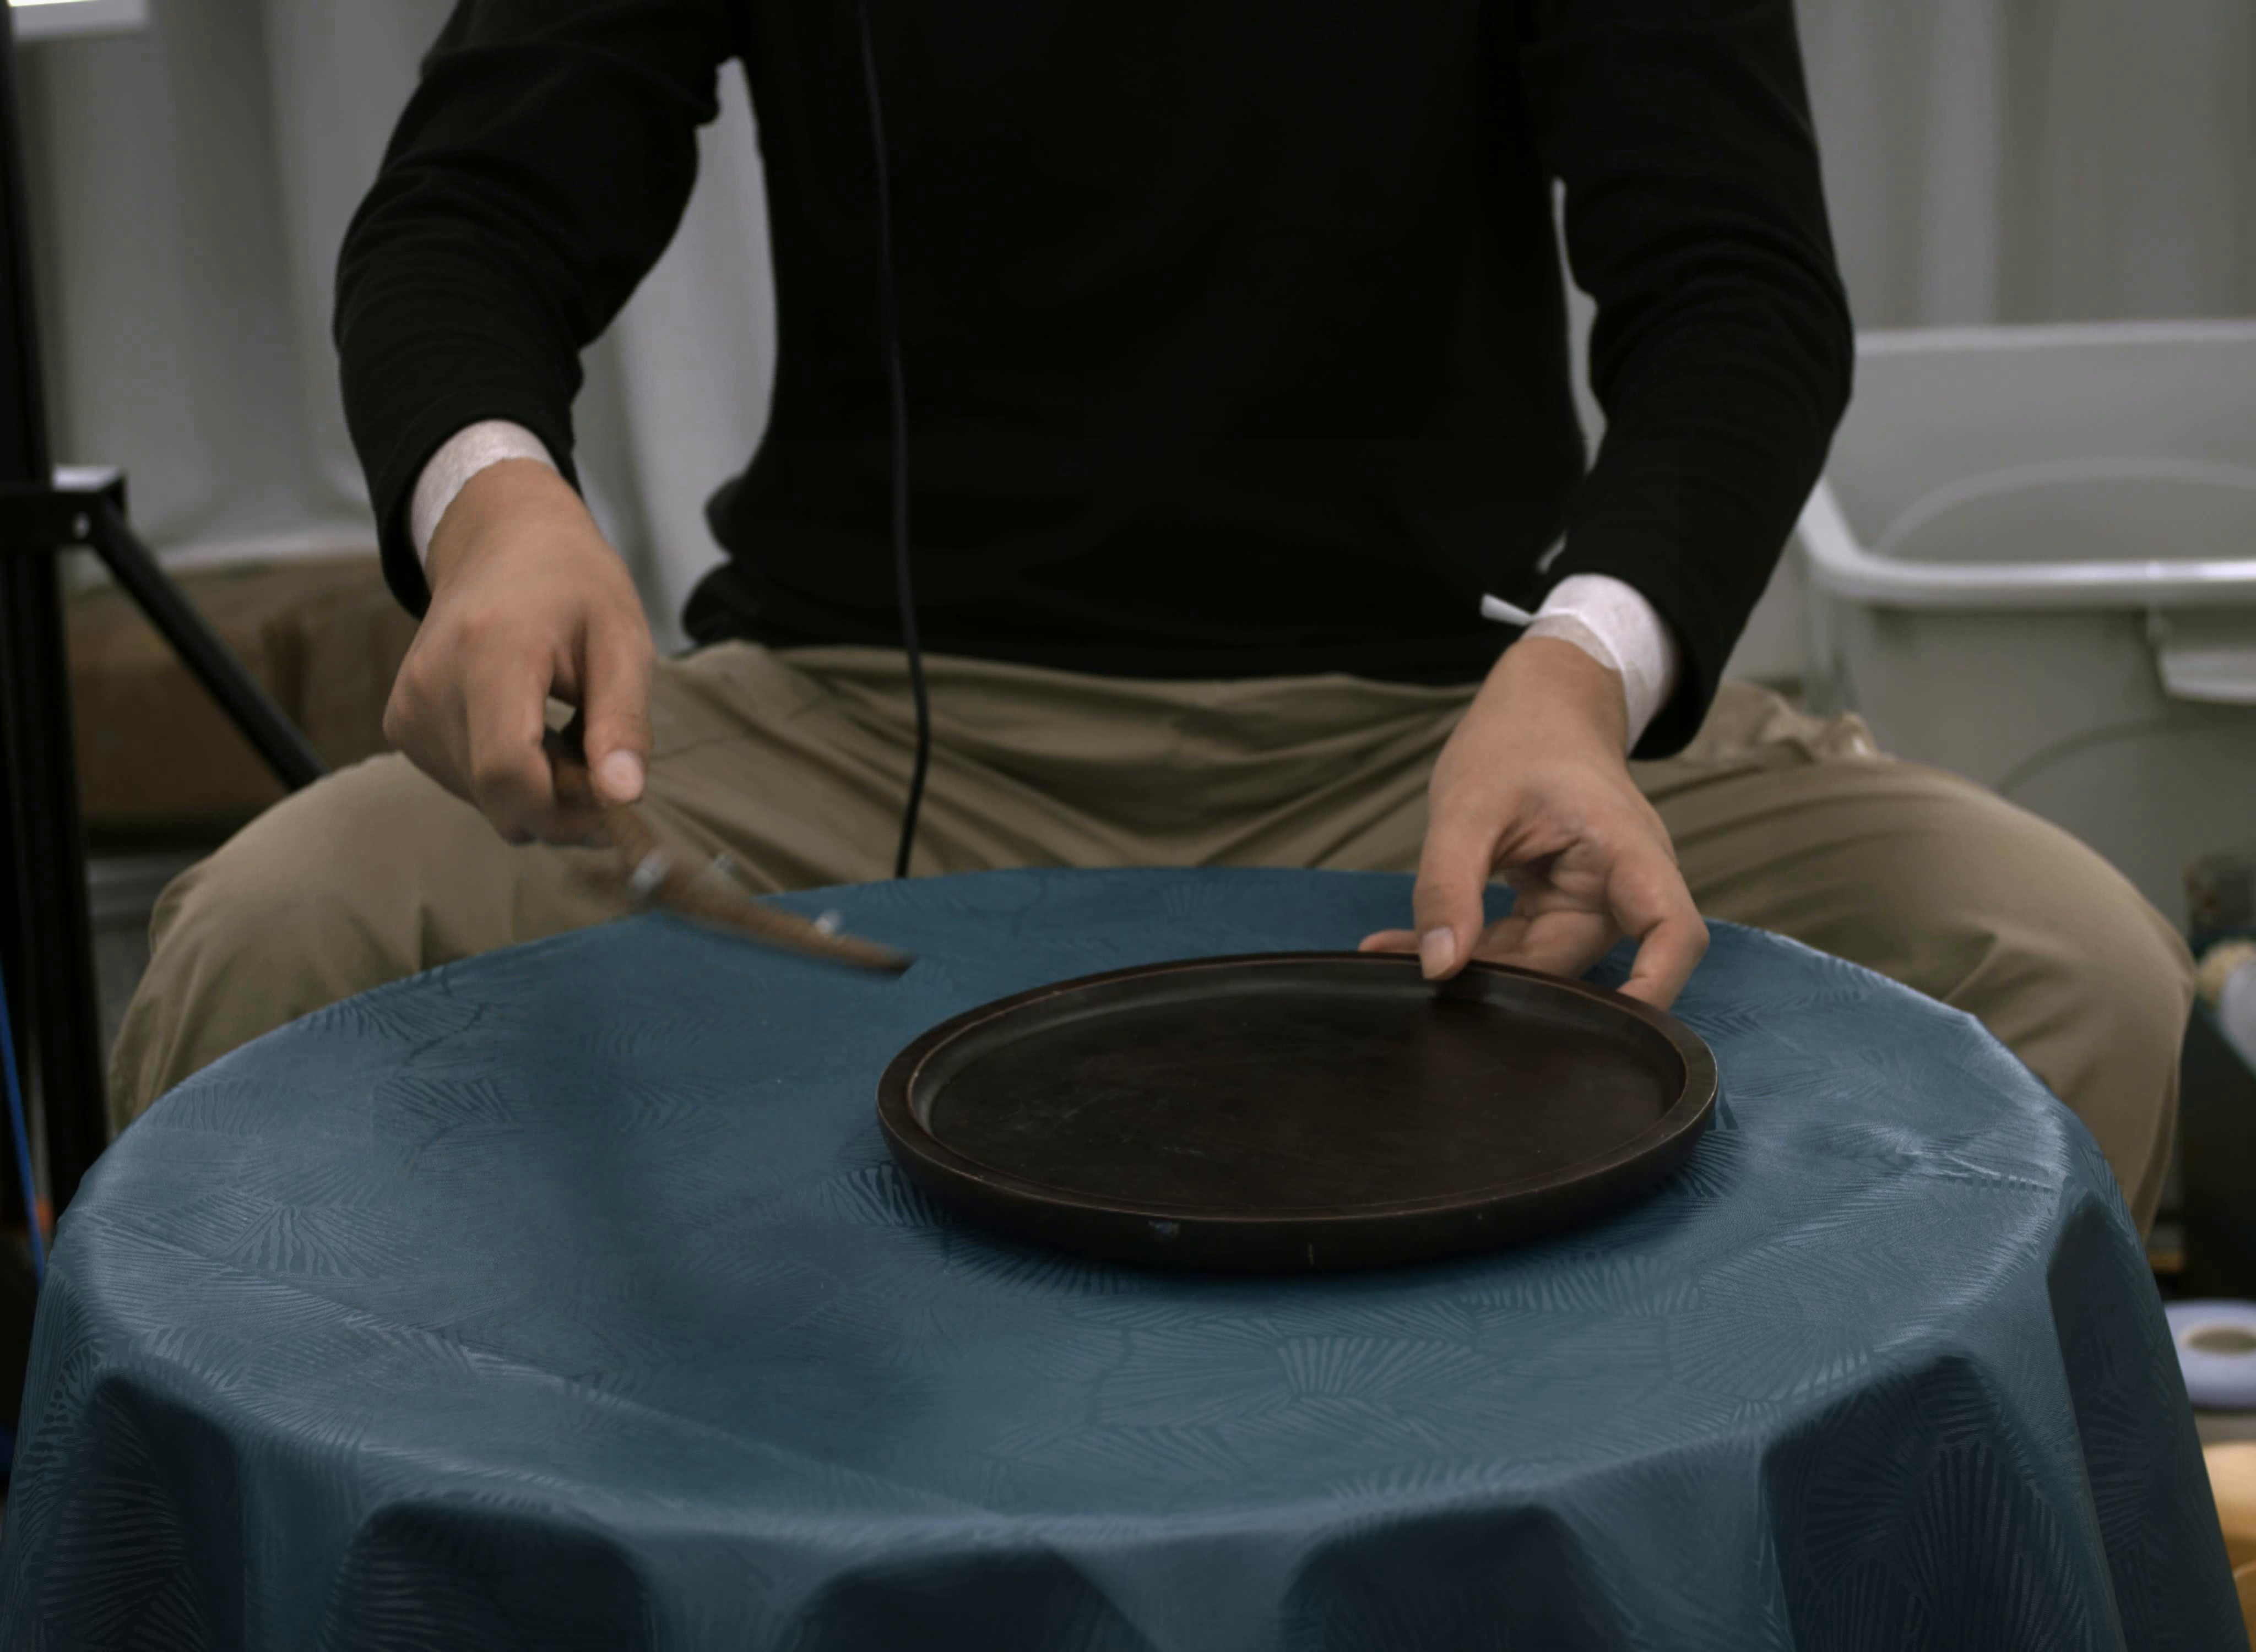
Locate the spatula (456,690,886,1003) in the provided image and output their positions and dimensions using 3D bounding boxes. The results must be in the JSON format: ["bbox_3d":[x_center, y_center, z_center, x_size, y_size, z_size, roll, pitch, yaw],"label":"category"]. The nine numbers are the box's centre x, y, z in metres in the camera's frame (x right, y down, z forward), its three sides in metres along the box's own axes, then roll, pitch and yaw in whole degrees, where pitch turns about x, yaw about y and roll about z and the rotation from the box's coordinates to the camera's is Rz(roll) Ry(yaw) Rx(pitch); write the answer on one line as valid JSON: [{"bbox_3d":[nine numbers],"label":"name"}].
[{"bbox_3d":[-0.159,0.000,1.611,0.094,0.016,0.392,14,8,-19],"label":"spatula"}]

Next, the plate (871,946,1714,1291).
[{"bbox_3d":[0.050,0.085,1.590,0.253,0.029,0.256,-4,17,0],"label":"plate"}]
